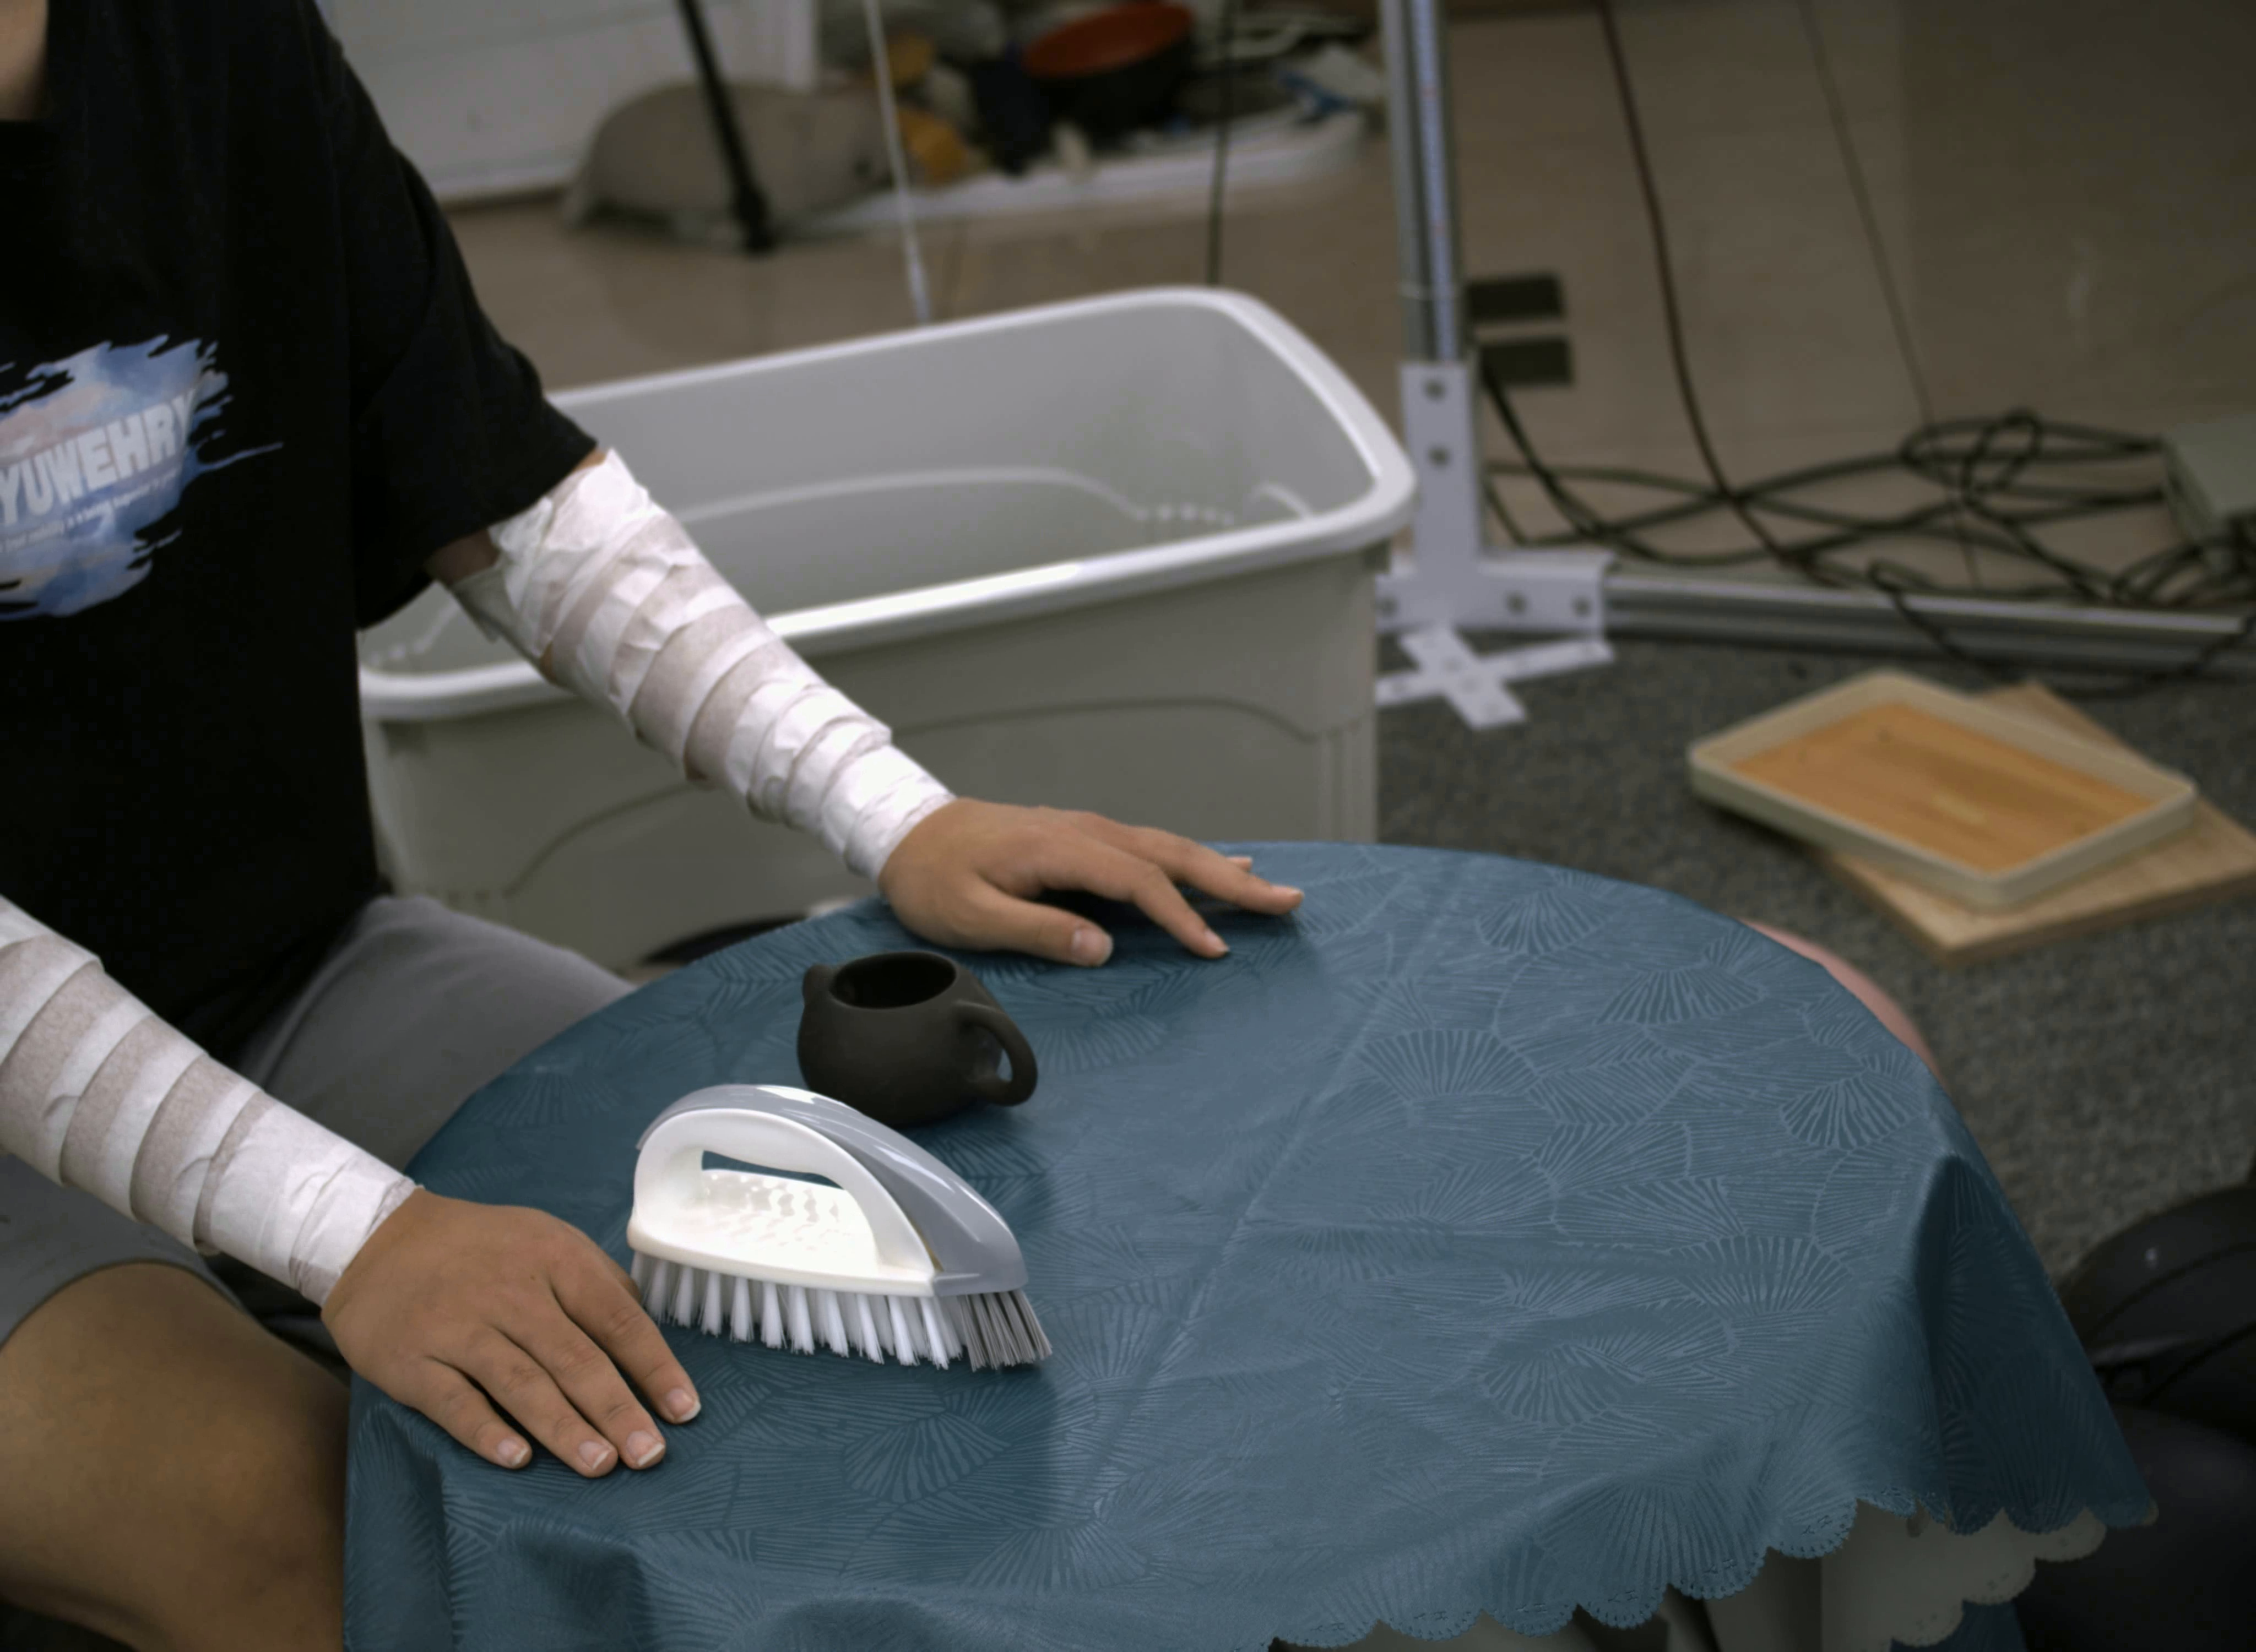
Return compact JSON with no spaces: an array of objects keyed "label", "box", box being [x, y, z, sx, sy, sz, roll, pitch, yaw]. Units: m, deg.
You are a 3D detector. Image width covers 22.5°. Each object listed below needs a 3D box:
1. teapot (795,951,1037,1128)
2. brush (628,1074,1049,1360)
[{"label":"teapot","box":[-0.081,0.085,2.224,0.113,0.054,0.082,12,30,39]},{"label":"brush","box":[-0.107,0.139,2.064,0.174,0.096,0.061,12,34,32]}]
